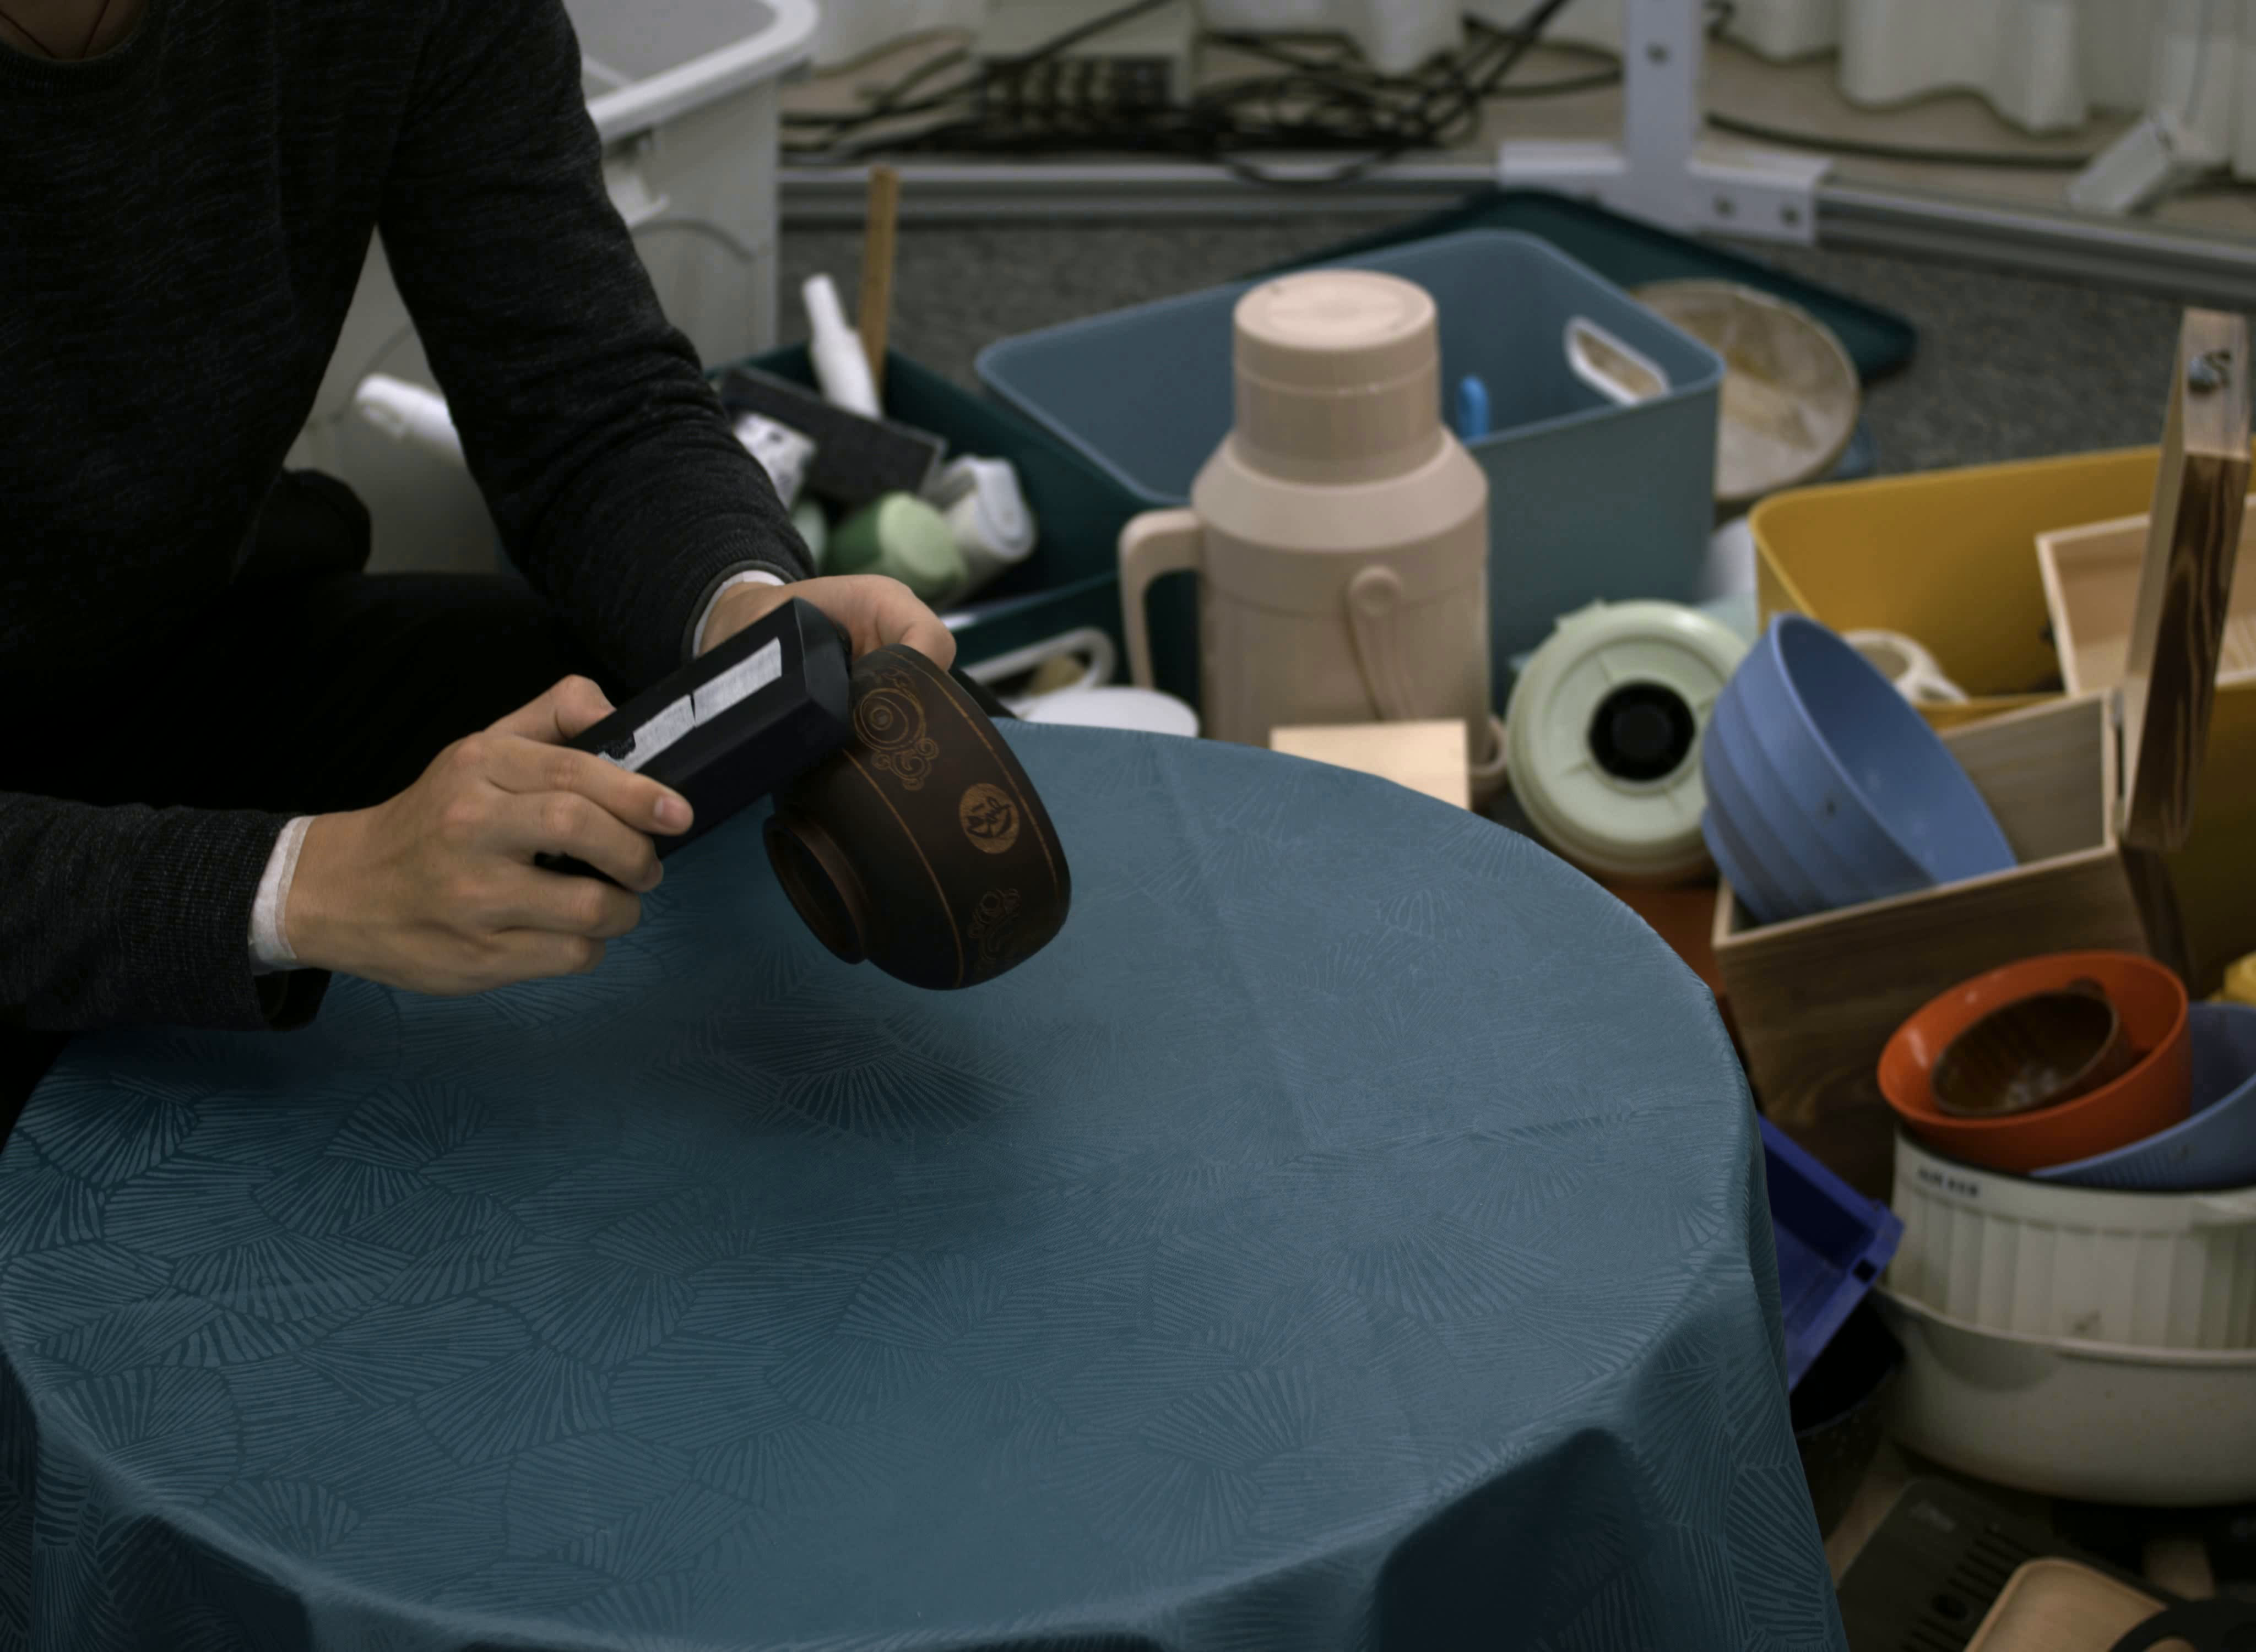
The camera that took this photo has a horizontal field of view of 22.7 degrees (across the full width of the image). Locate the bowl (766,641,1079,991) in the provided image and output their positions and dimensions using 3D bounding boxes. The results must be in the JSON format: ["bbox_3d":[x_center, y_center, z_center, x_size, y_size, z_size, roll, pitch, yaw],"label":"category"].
[{"bbox_3d":[-0.077,0.004,1.882,0.070,0.116,0.118,-33,37,-21],"label":"bowl"}]

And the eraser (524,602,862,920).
[{"bbox_3d":[-0.144,-0.022,1.859,0.124,0.030,0.054,-33,38,18],"label":"eraser"}]
